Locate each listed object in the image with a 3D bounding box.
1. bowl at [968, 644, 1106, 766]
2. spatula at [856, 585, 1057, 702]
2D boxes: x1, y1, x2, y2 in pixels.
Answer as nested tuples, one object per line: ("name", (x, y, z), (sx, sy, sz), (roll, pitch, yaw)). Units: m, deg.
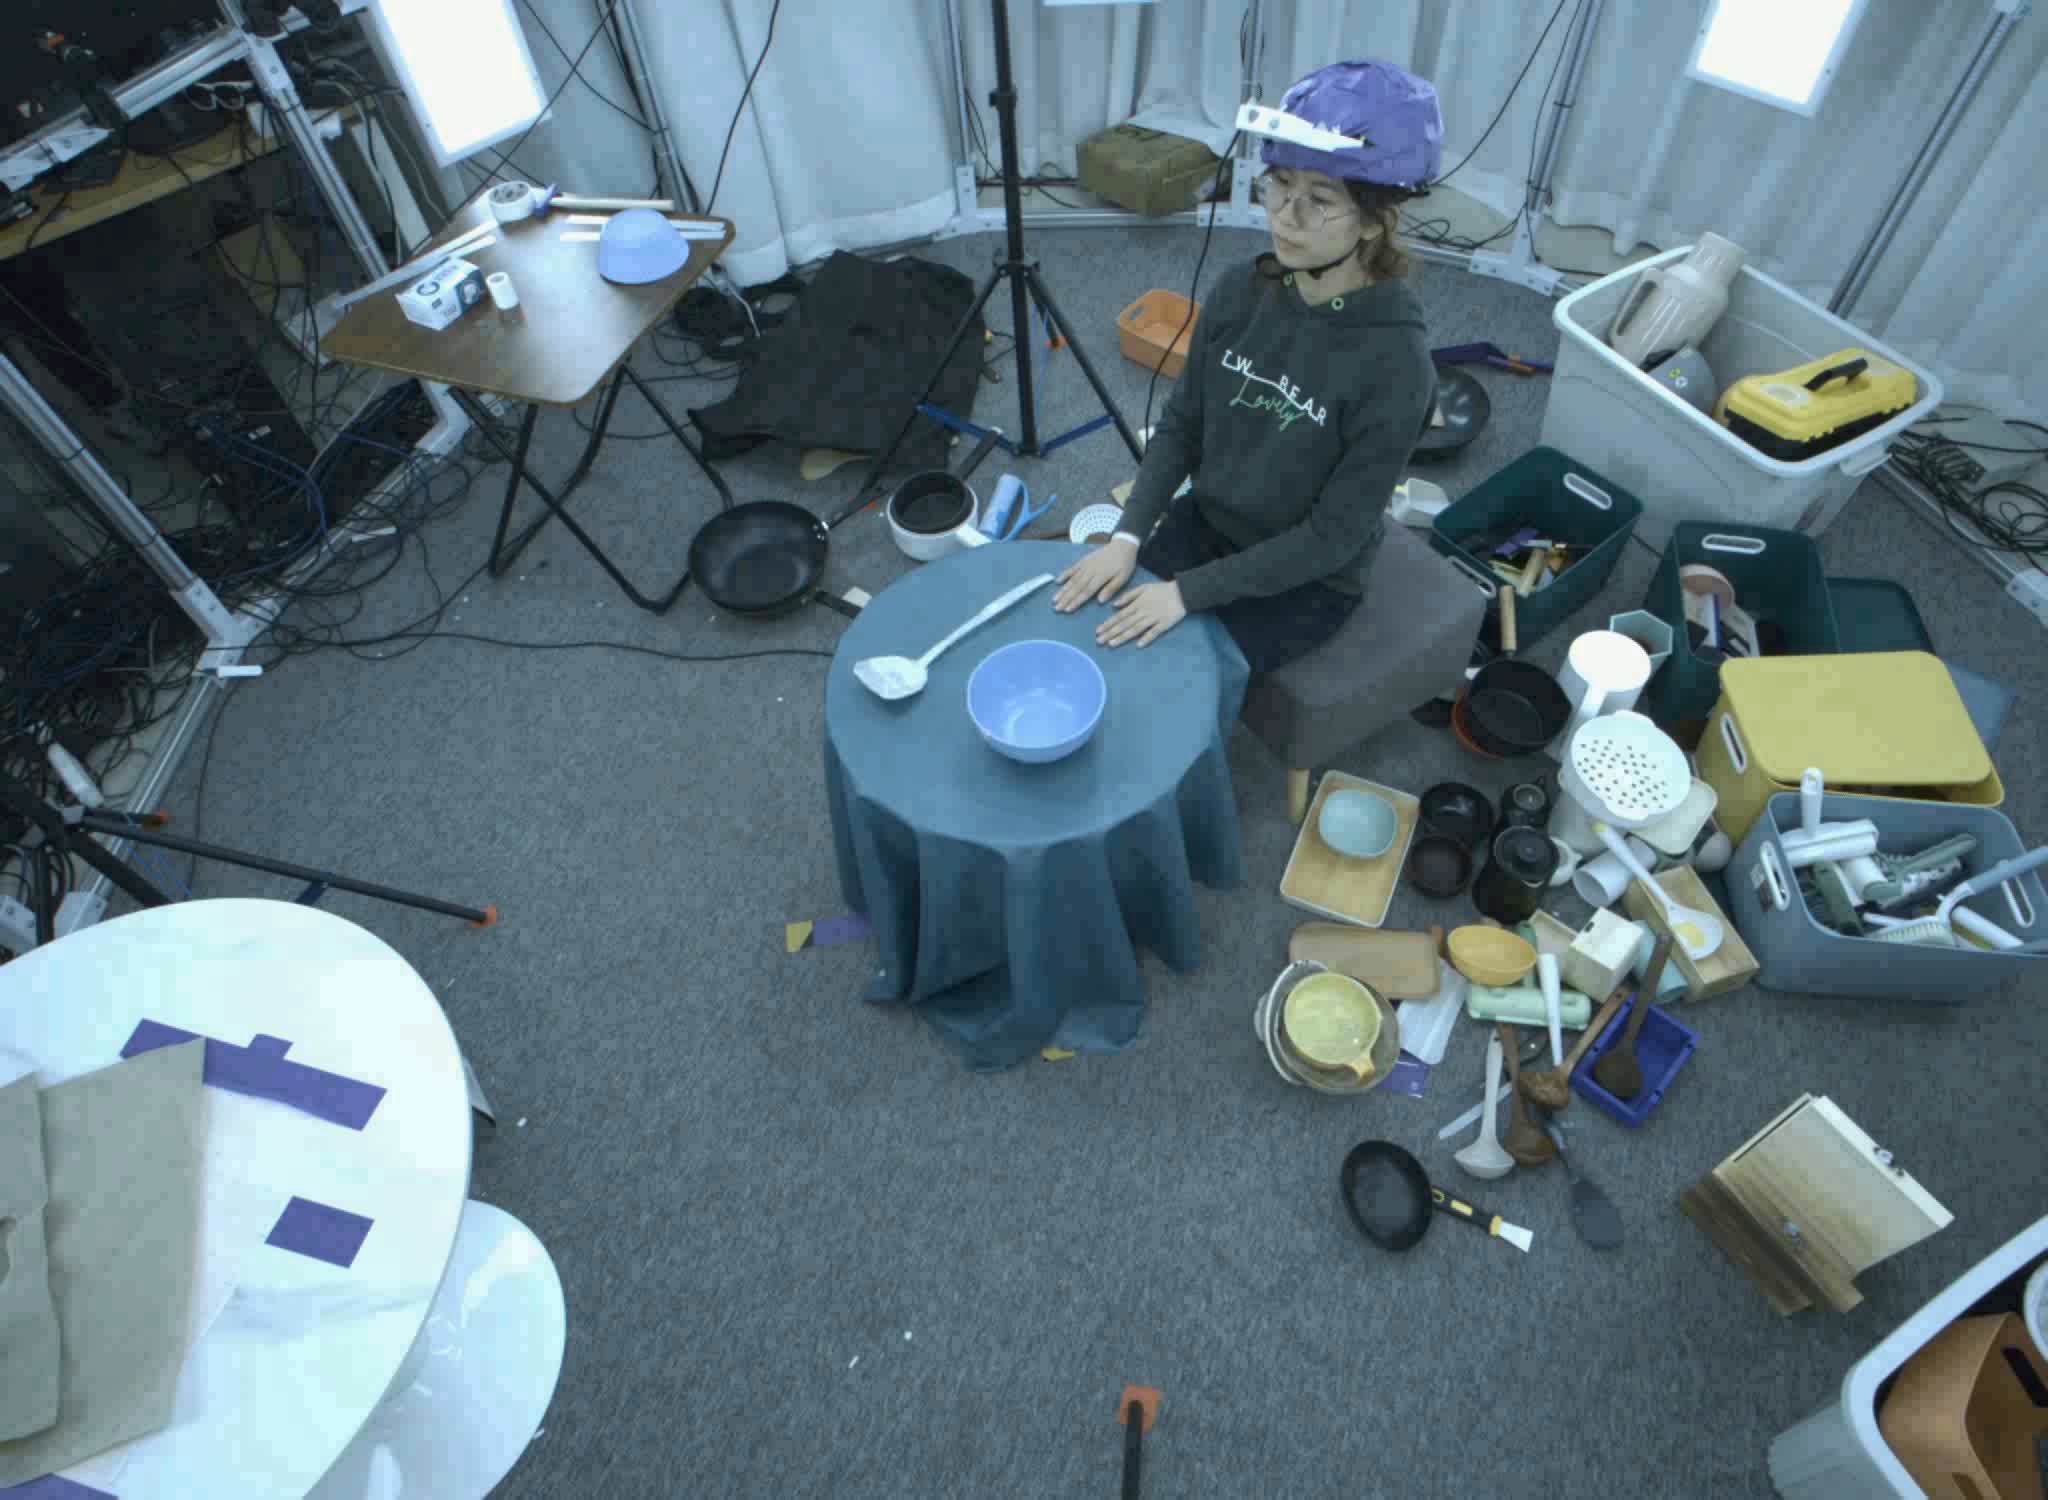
("bowl", (0.022, -0.050, 1.773), (0.196, 0.096, 0.194), (-1, 55, 3))
("spatula", (-0.094, -0.179, 1.903), (0.367, 0.045, 0.097), (-36, 59, -21))
